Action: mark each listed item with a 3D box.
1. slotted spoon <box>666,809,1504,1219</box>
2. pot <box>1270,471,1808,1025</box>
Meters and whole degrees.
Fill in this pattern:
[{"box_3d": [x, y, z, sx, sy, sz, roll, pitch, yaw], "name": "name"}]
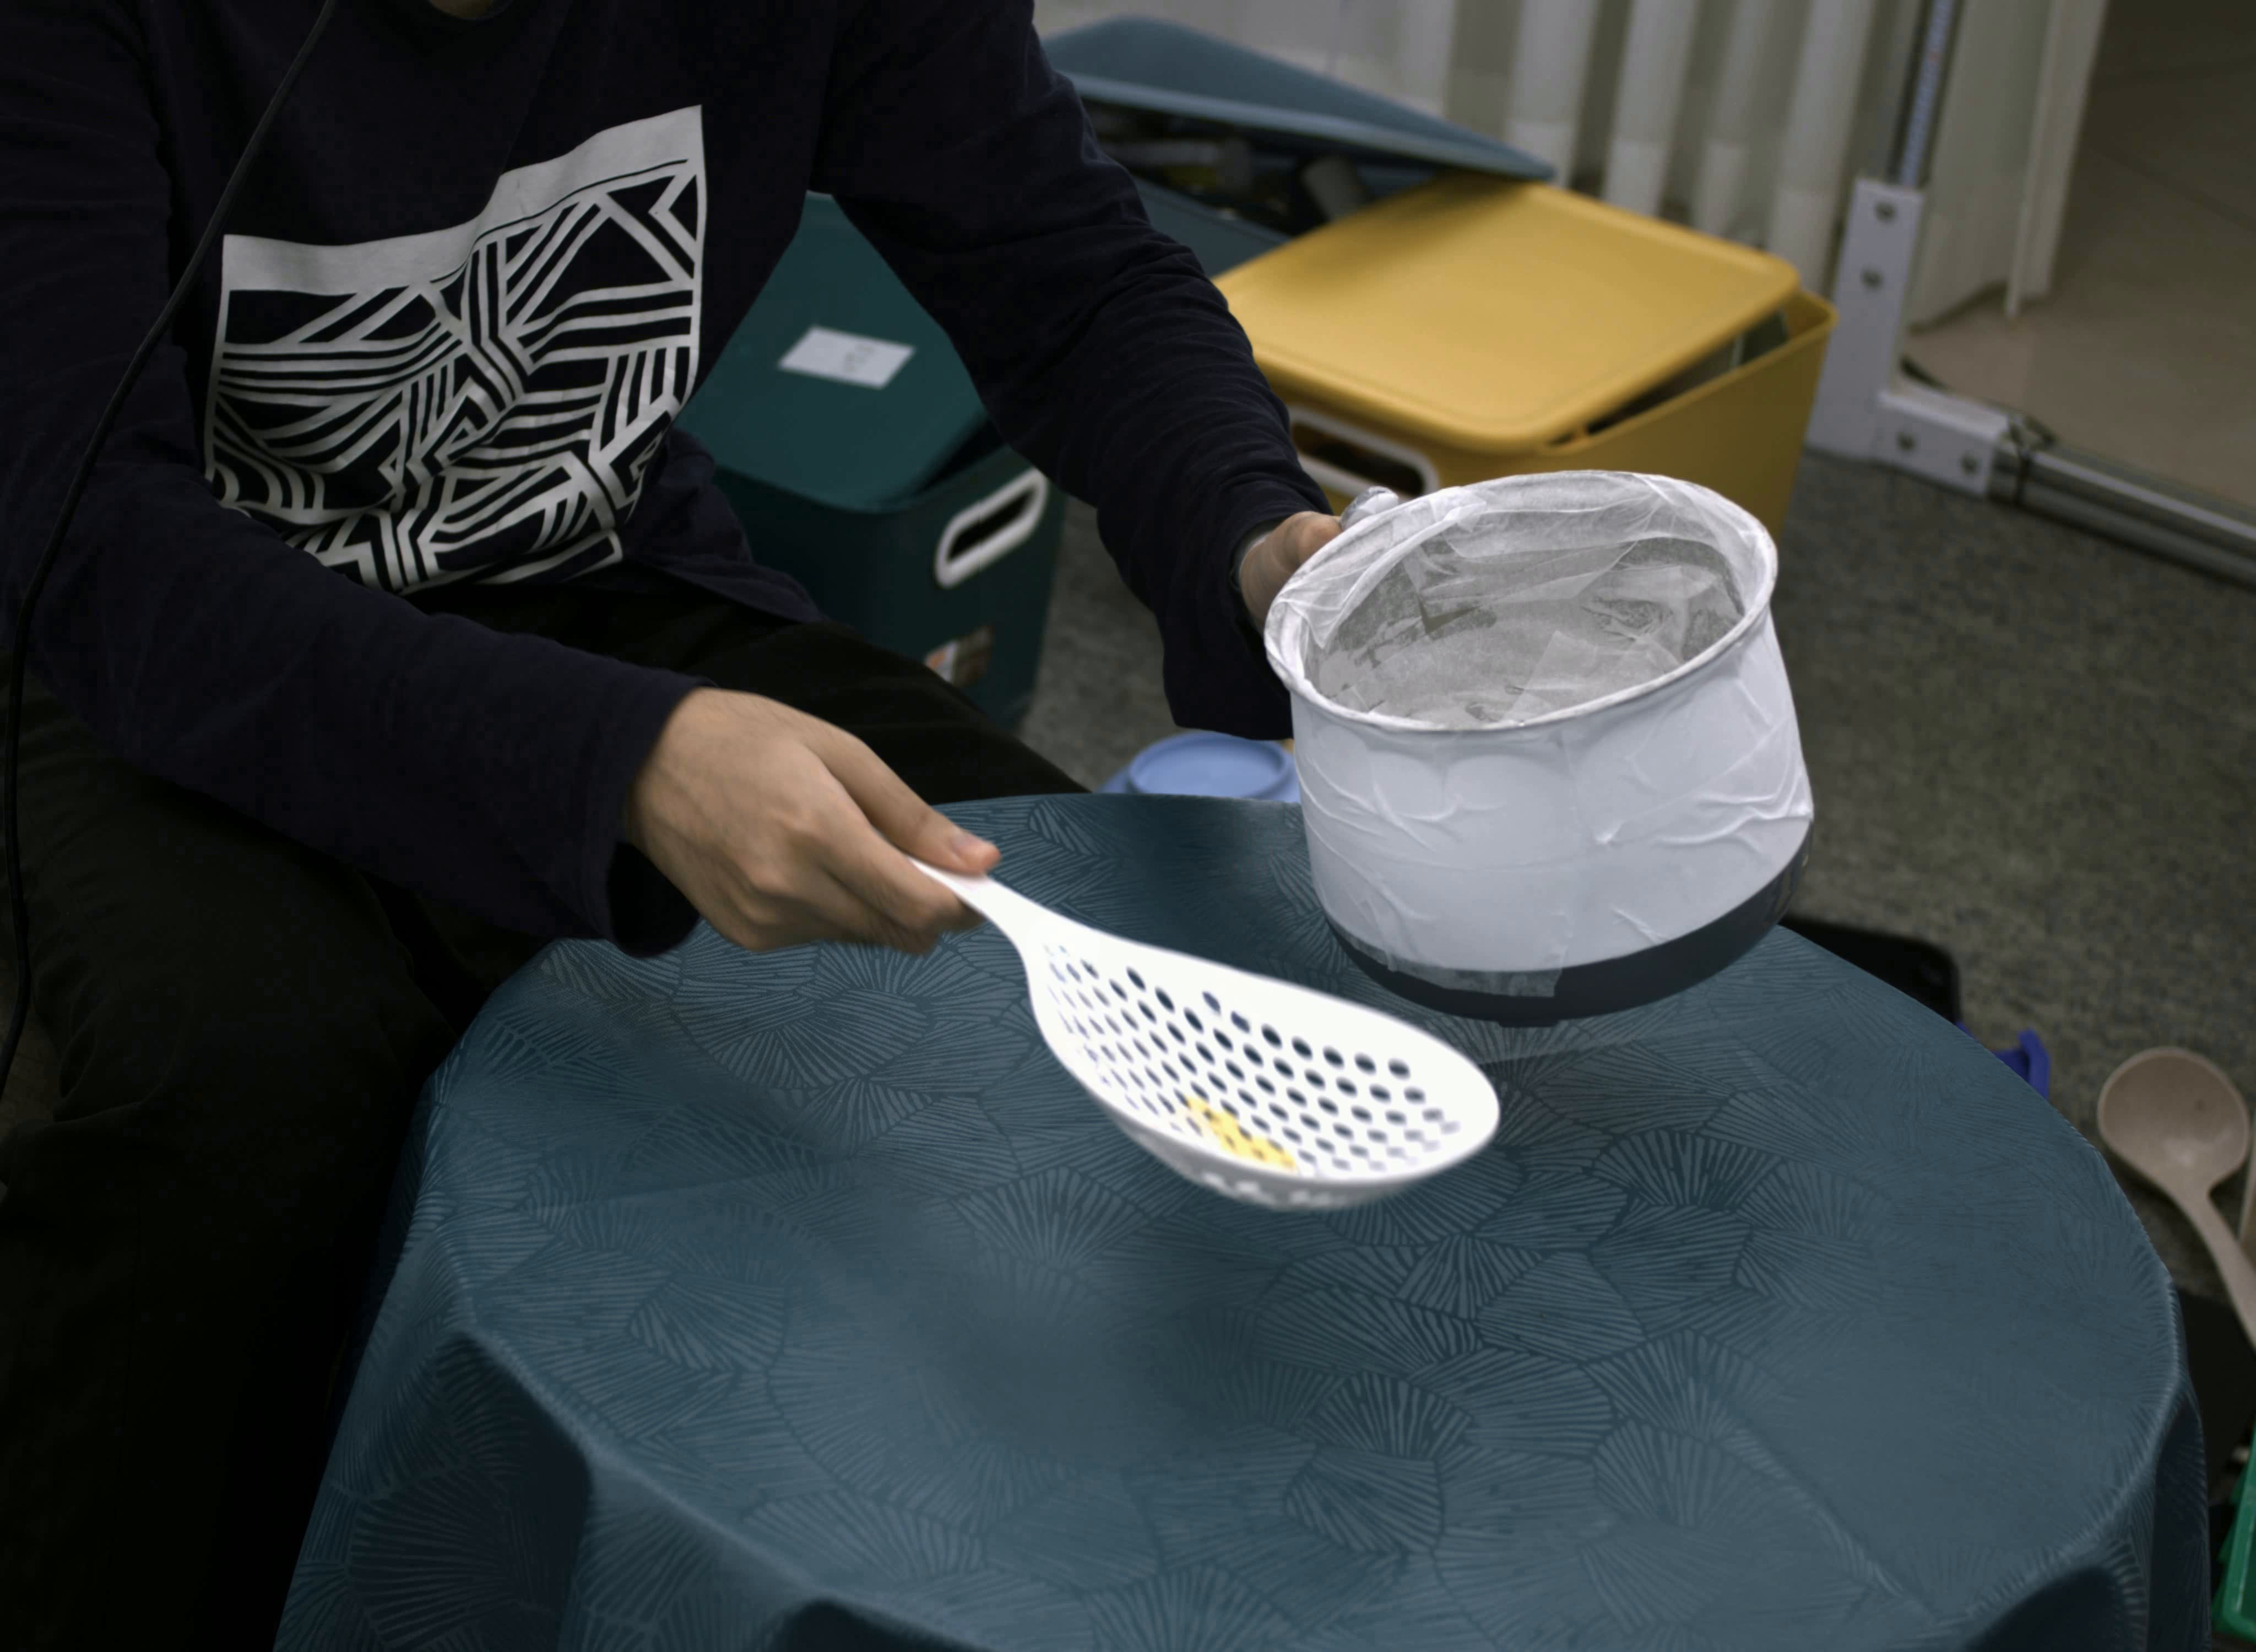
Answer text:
[{"box_3d": [-0.029, 0.050, 1.751, 0.136, 0.050, 0.351, -13, 35, -43], "name": "slotted spoon"}, {"box_3d": [0.131, -0.036, 1.866, 0.178, 0.136, 0.236, -22, 31, -21], "name": "pot"}]
